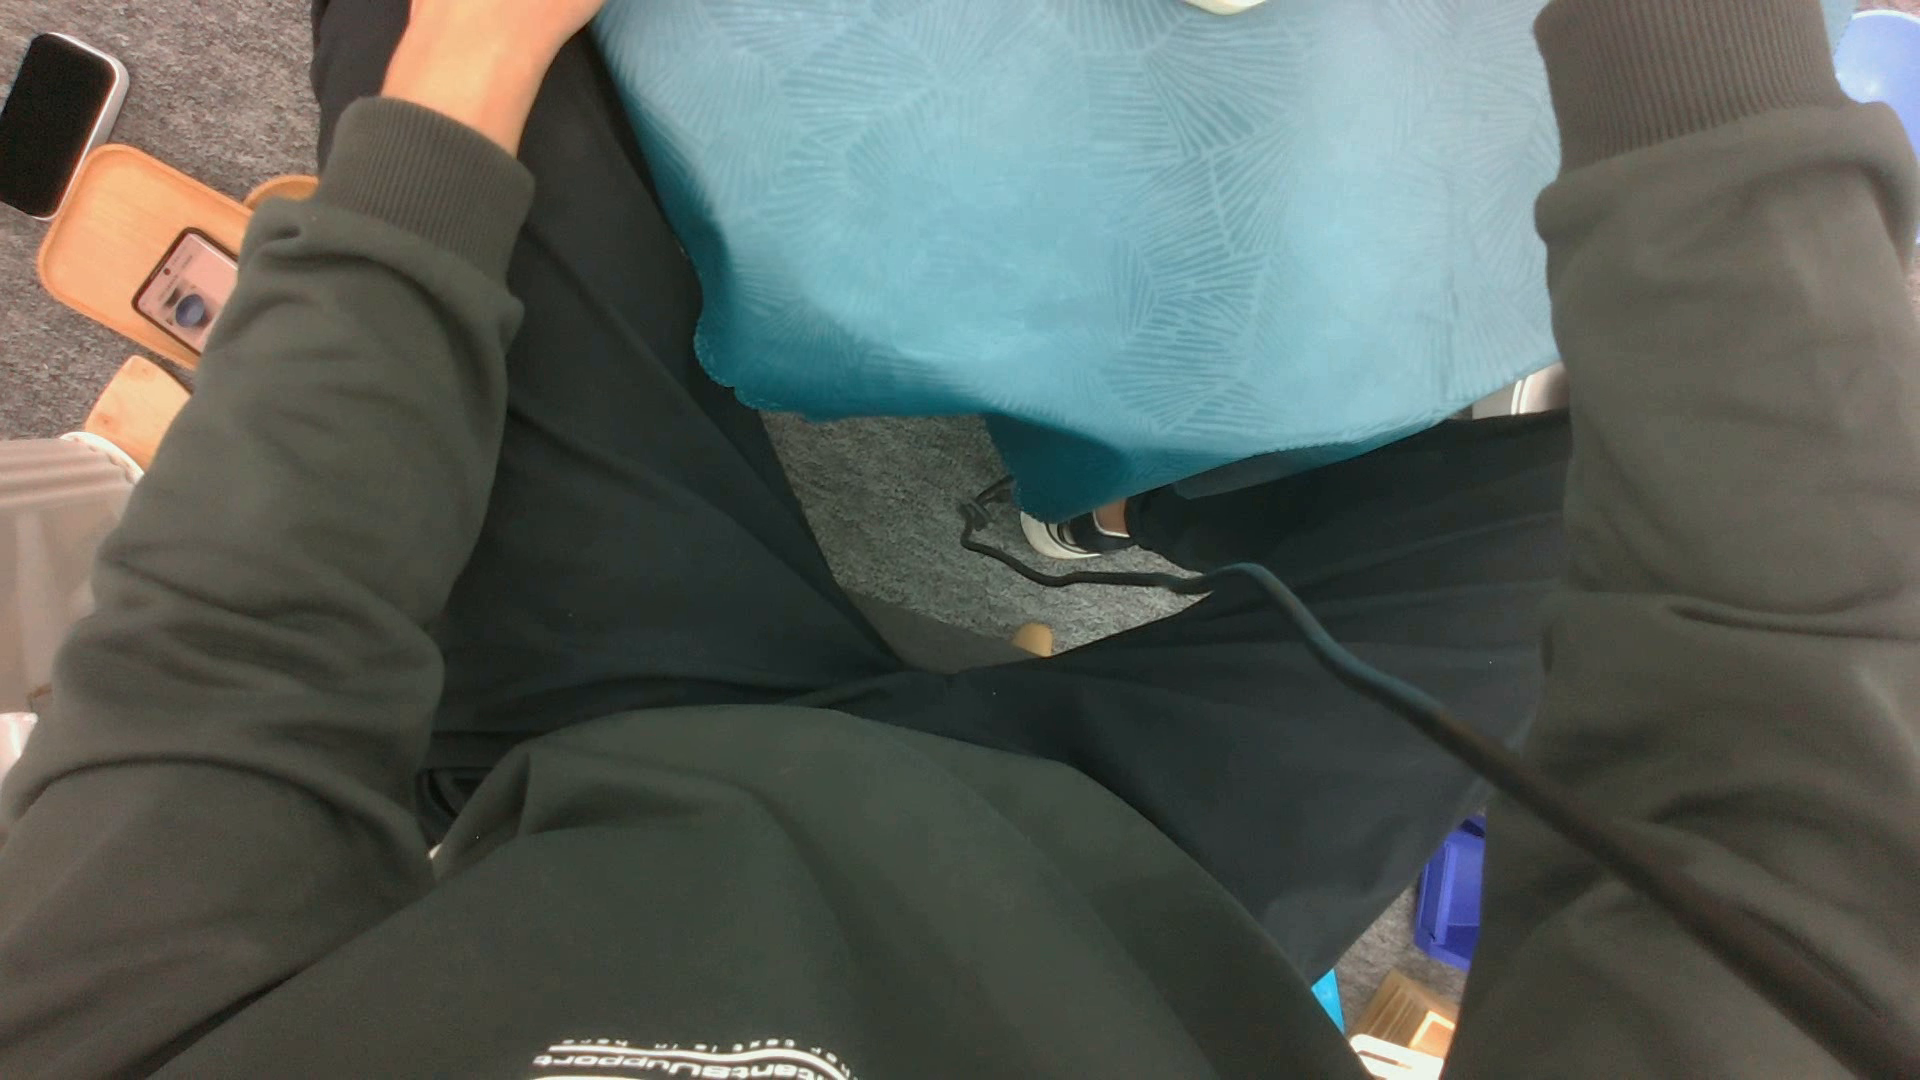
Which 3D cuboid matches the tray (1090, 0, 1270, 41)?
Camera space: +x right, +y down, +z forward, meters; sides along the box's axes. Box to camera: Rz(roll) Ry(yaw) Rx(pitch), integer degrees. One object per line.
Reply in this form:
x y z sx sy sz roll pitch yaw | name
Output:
0.007 -0.337 0.548 0.300 0.027 0.191 16 96 -10 | tray
